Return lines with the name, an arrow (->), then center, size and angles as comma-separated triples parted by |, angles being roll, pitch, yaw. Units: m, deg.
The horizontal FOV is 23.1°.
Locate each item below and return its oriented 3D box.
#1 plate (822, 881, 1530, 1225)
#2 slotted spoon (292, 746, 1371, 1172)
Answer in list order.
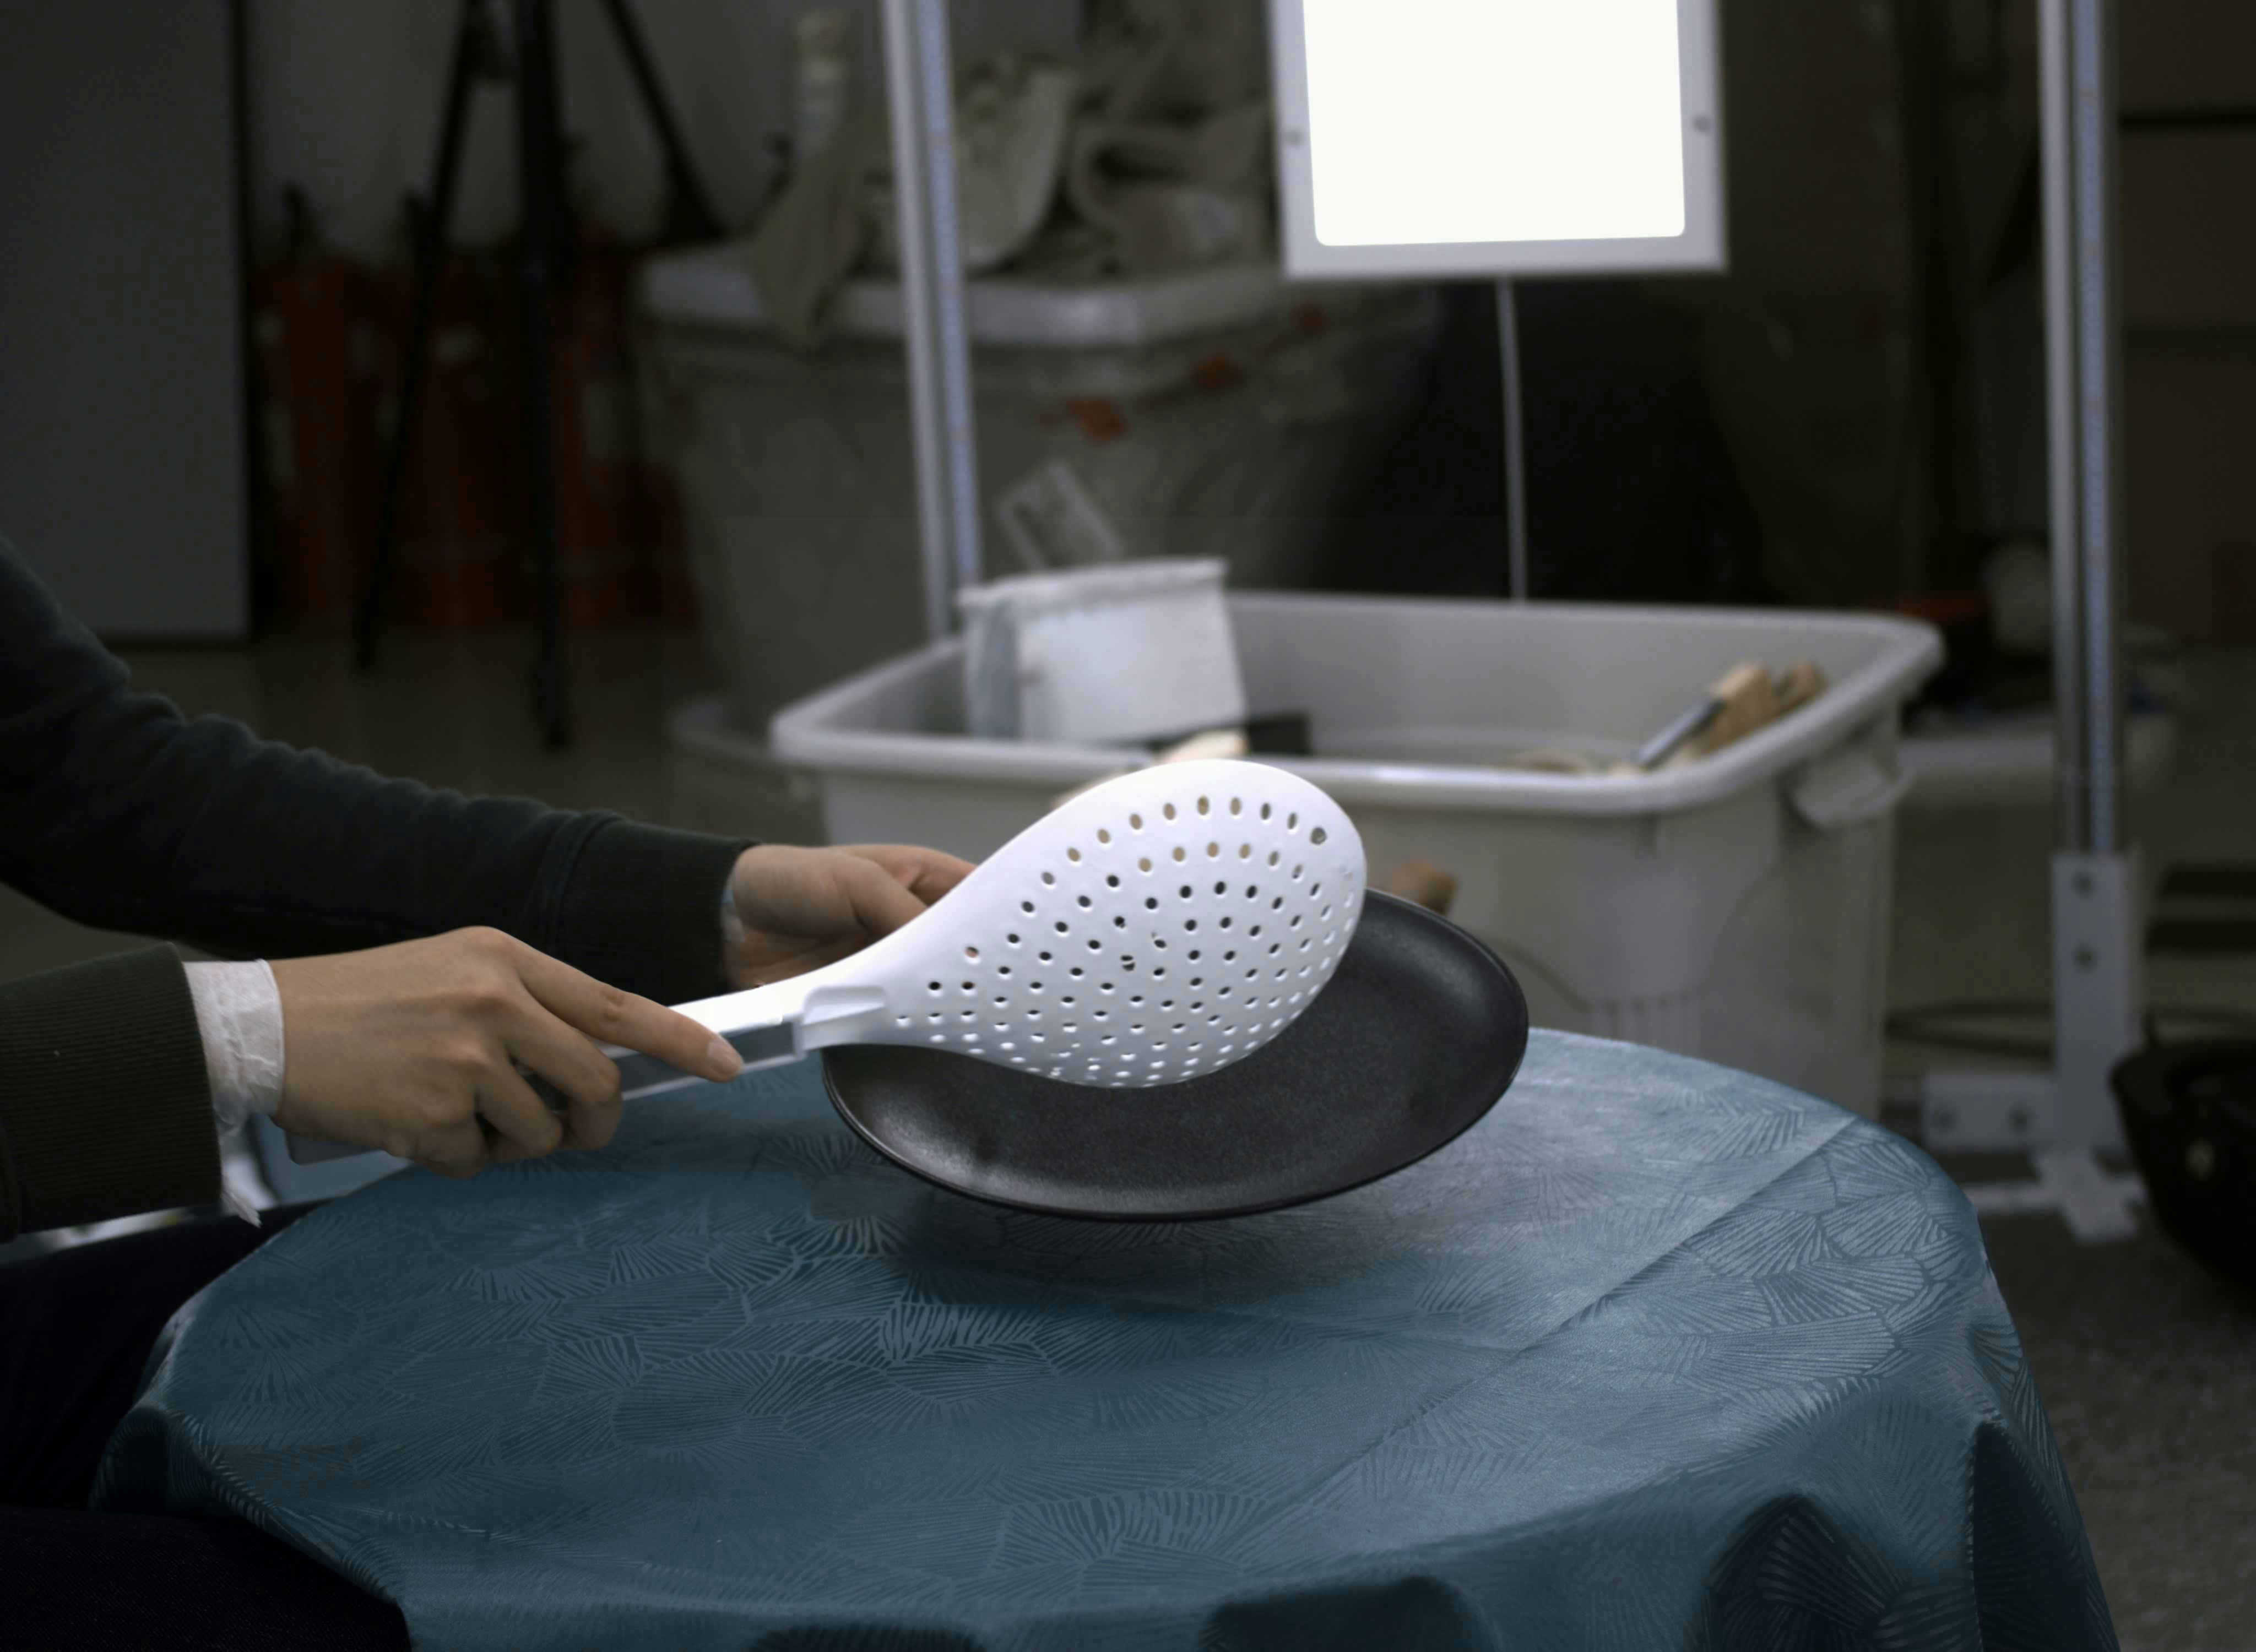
plate -> 0.017, 0.079, 1.883 | 0.244, 0.023, 0.244 | -4, 27, 1
slotted spoon -> -0.088, 0.056, 1.721 | 0.347, 0.136, 0.046 | -9, 43, -5
